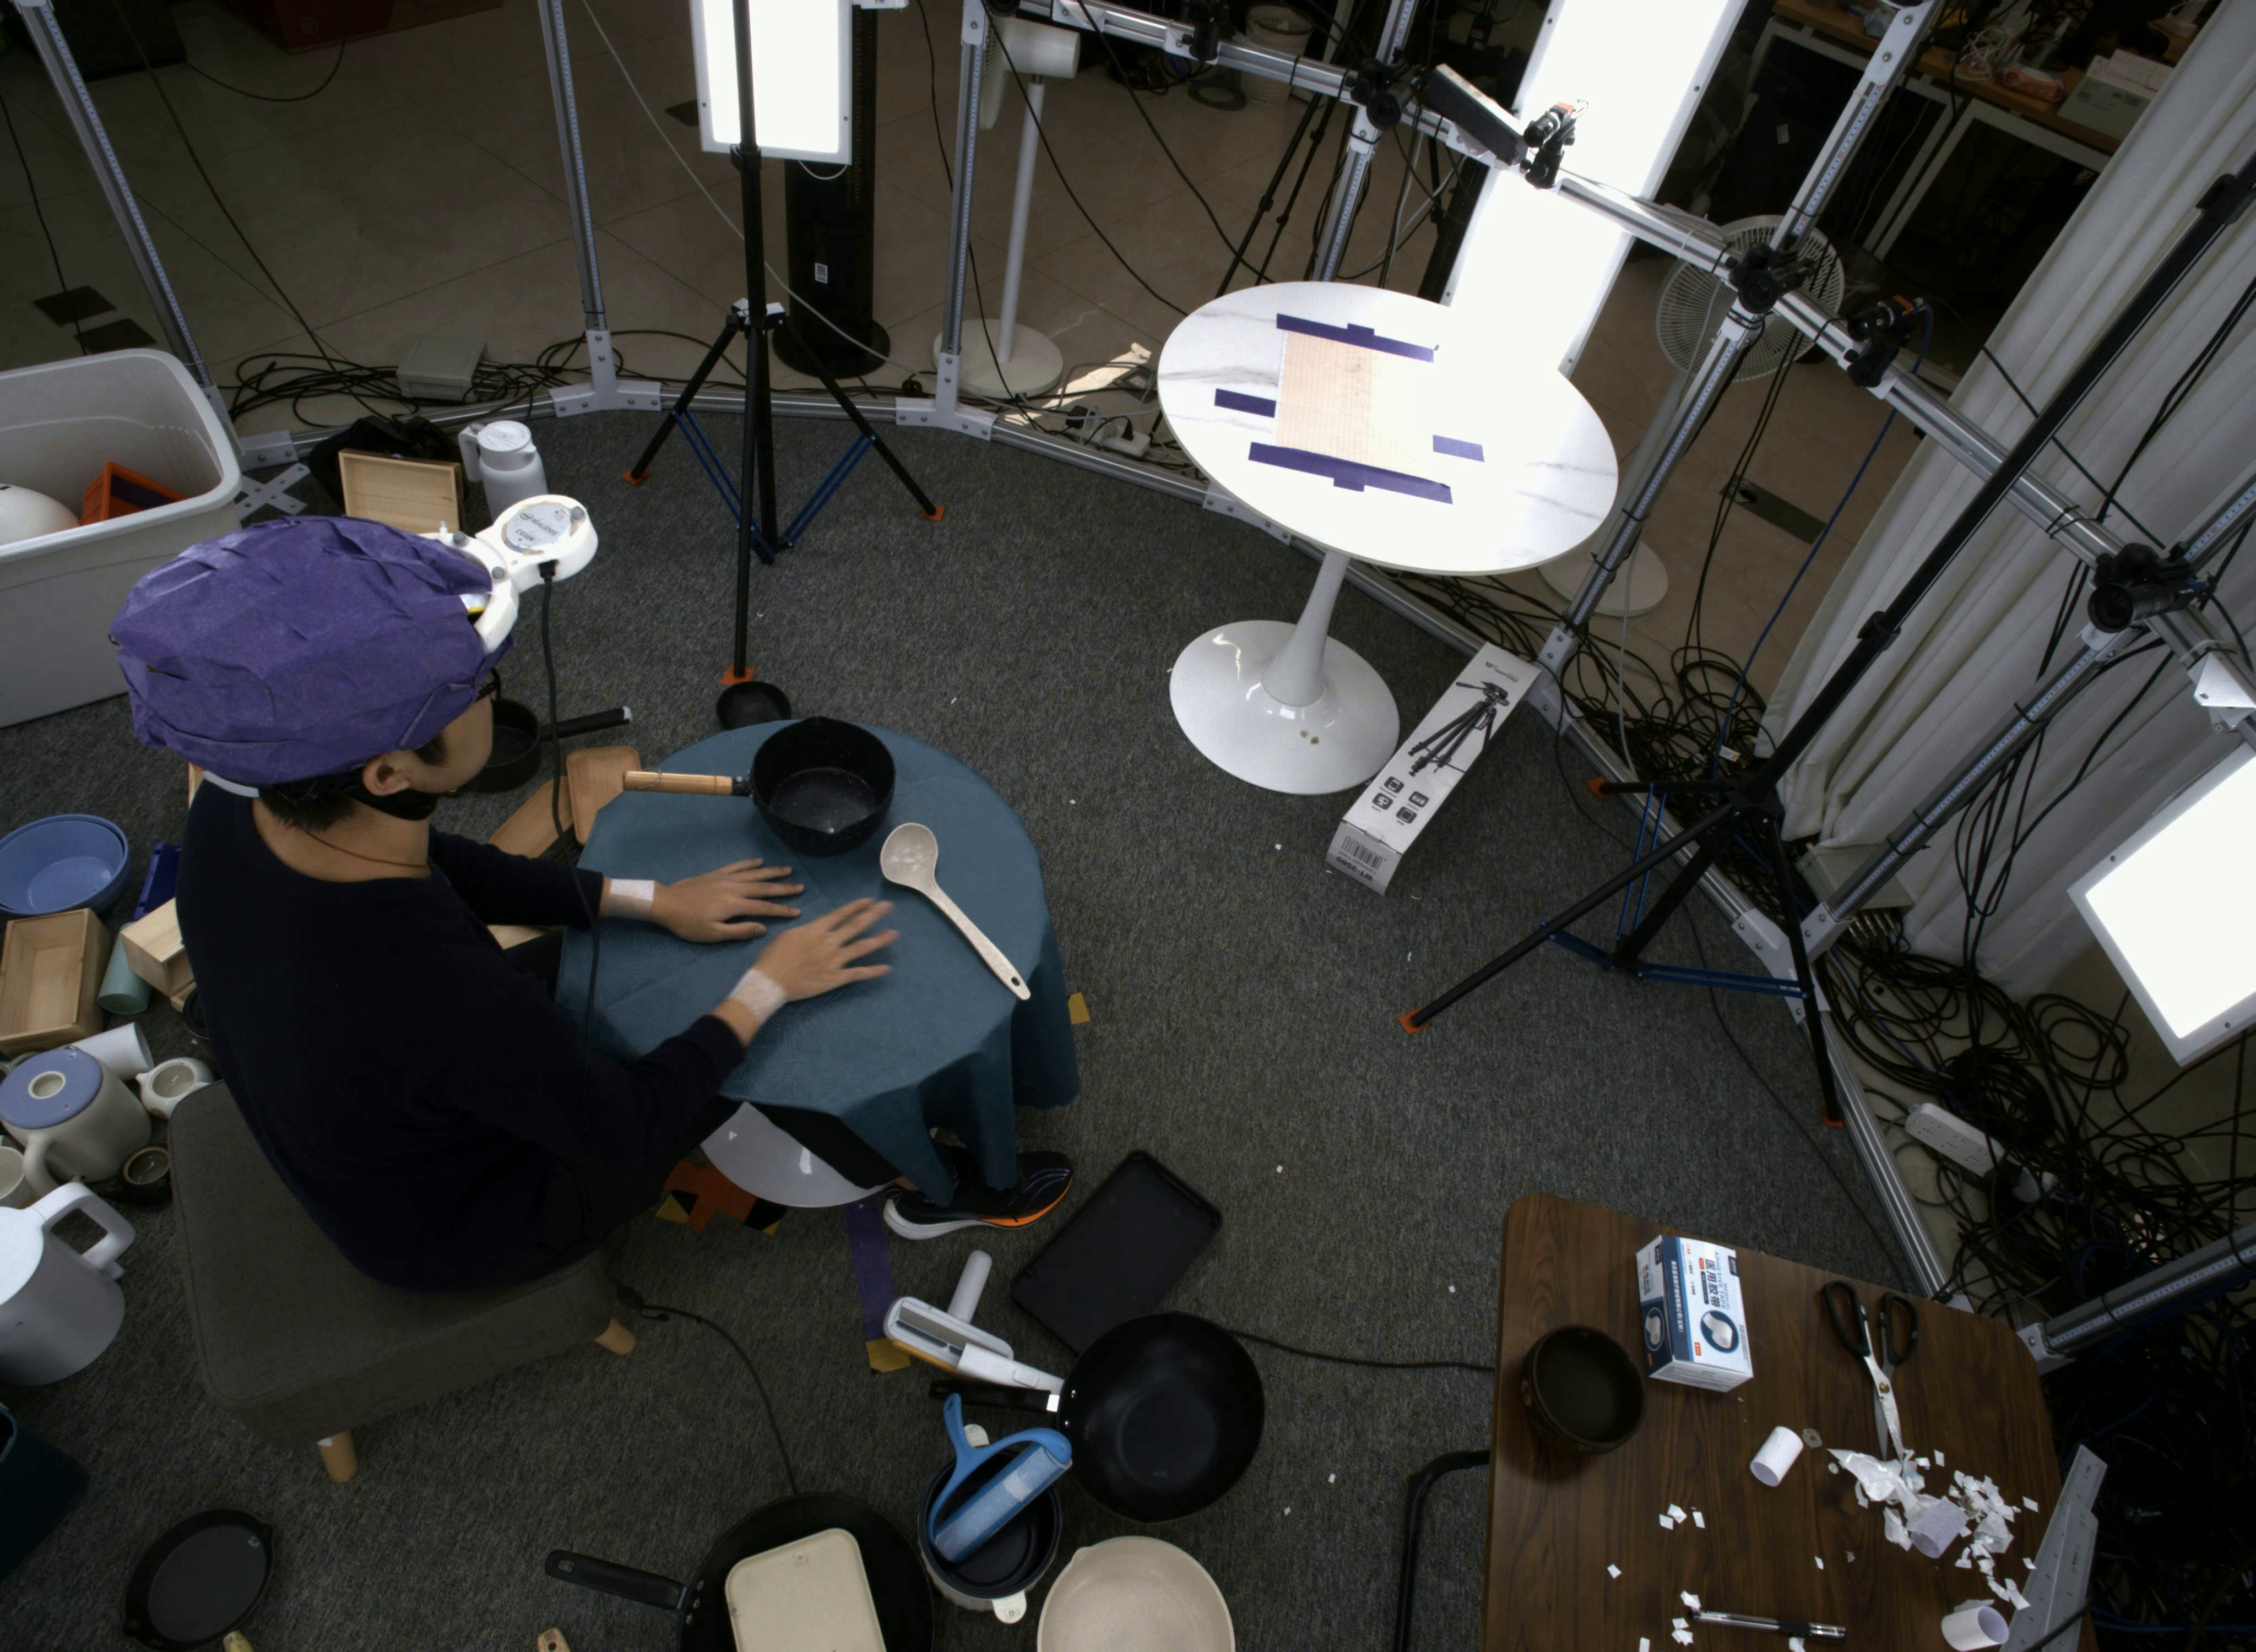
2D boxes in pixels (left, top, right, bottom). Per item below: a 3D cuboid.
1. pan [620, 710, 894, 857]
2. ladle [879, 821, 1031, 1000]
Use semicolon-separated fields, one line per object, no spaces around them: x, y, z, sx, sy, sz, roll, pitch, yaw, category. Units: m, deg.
-0.474;-0.045;1.665;0.344;0.110;0.203;-6;56;-20;pan
-0.210;0.104;1.651;0.269;0.070;0.090;43;43;16;ladle
